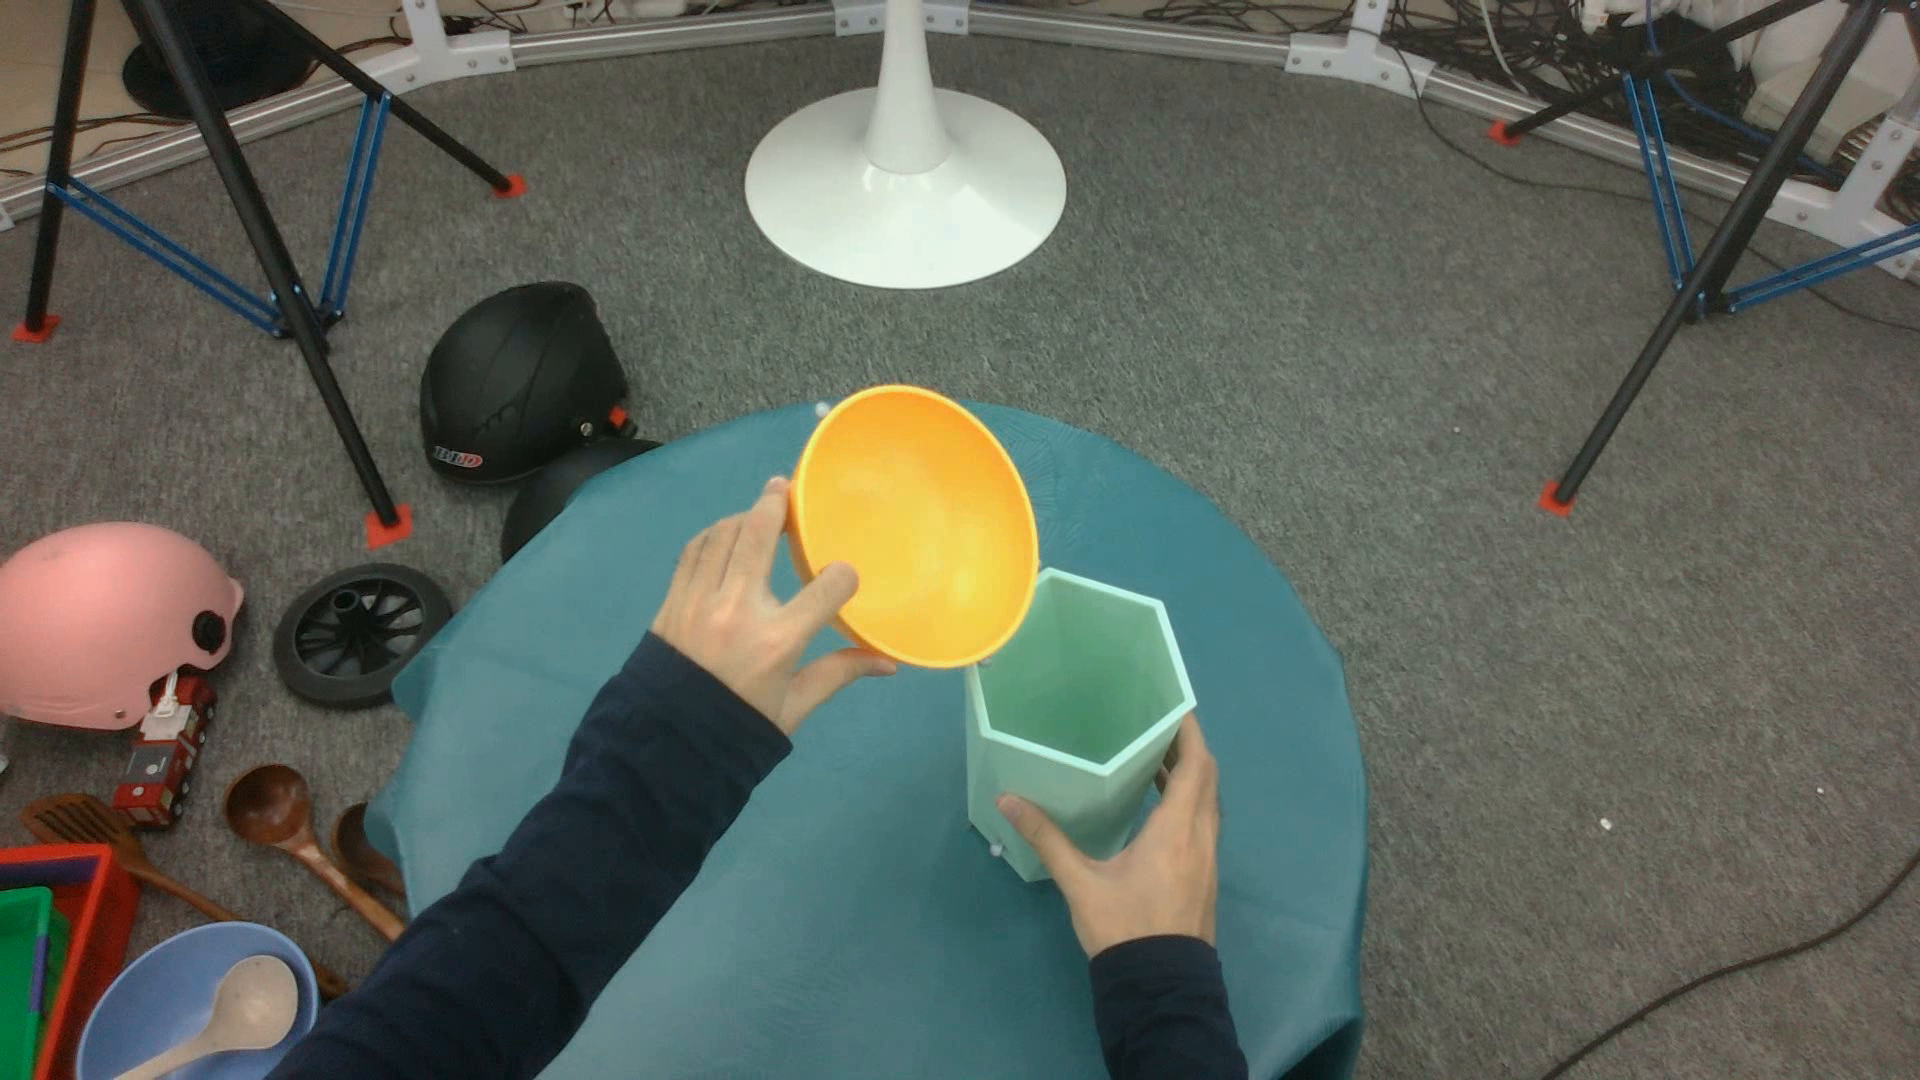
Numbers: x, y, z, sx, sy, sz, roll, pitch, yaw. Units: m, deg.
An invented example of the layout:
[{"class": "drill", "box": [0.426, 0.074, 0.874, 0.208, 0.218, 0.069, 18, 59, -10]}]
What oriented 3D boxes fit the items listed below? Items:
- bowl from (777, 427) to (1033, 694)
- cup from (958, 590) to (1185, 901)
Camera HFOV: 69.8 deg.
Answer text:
[{"class": "bowl", "box": [-0.037, 0.018, 0.714, 0.145, 0.060, 0.146, 15, 60, -28]}, {"class": "cup", "box": [0.056, 0.127, 0.794, 0.131, 0.162, 0.116, 15, 52, 11]}]
